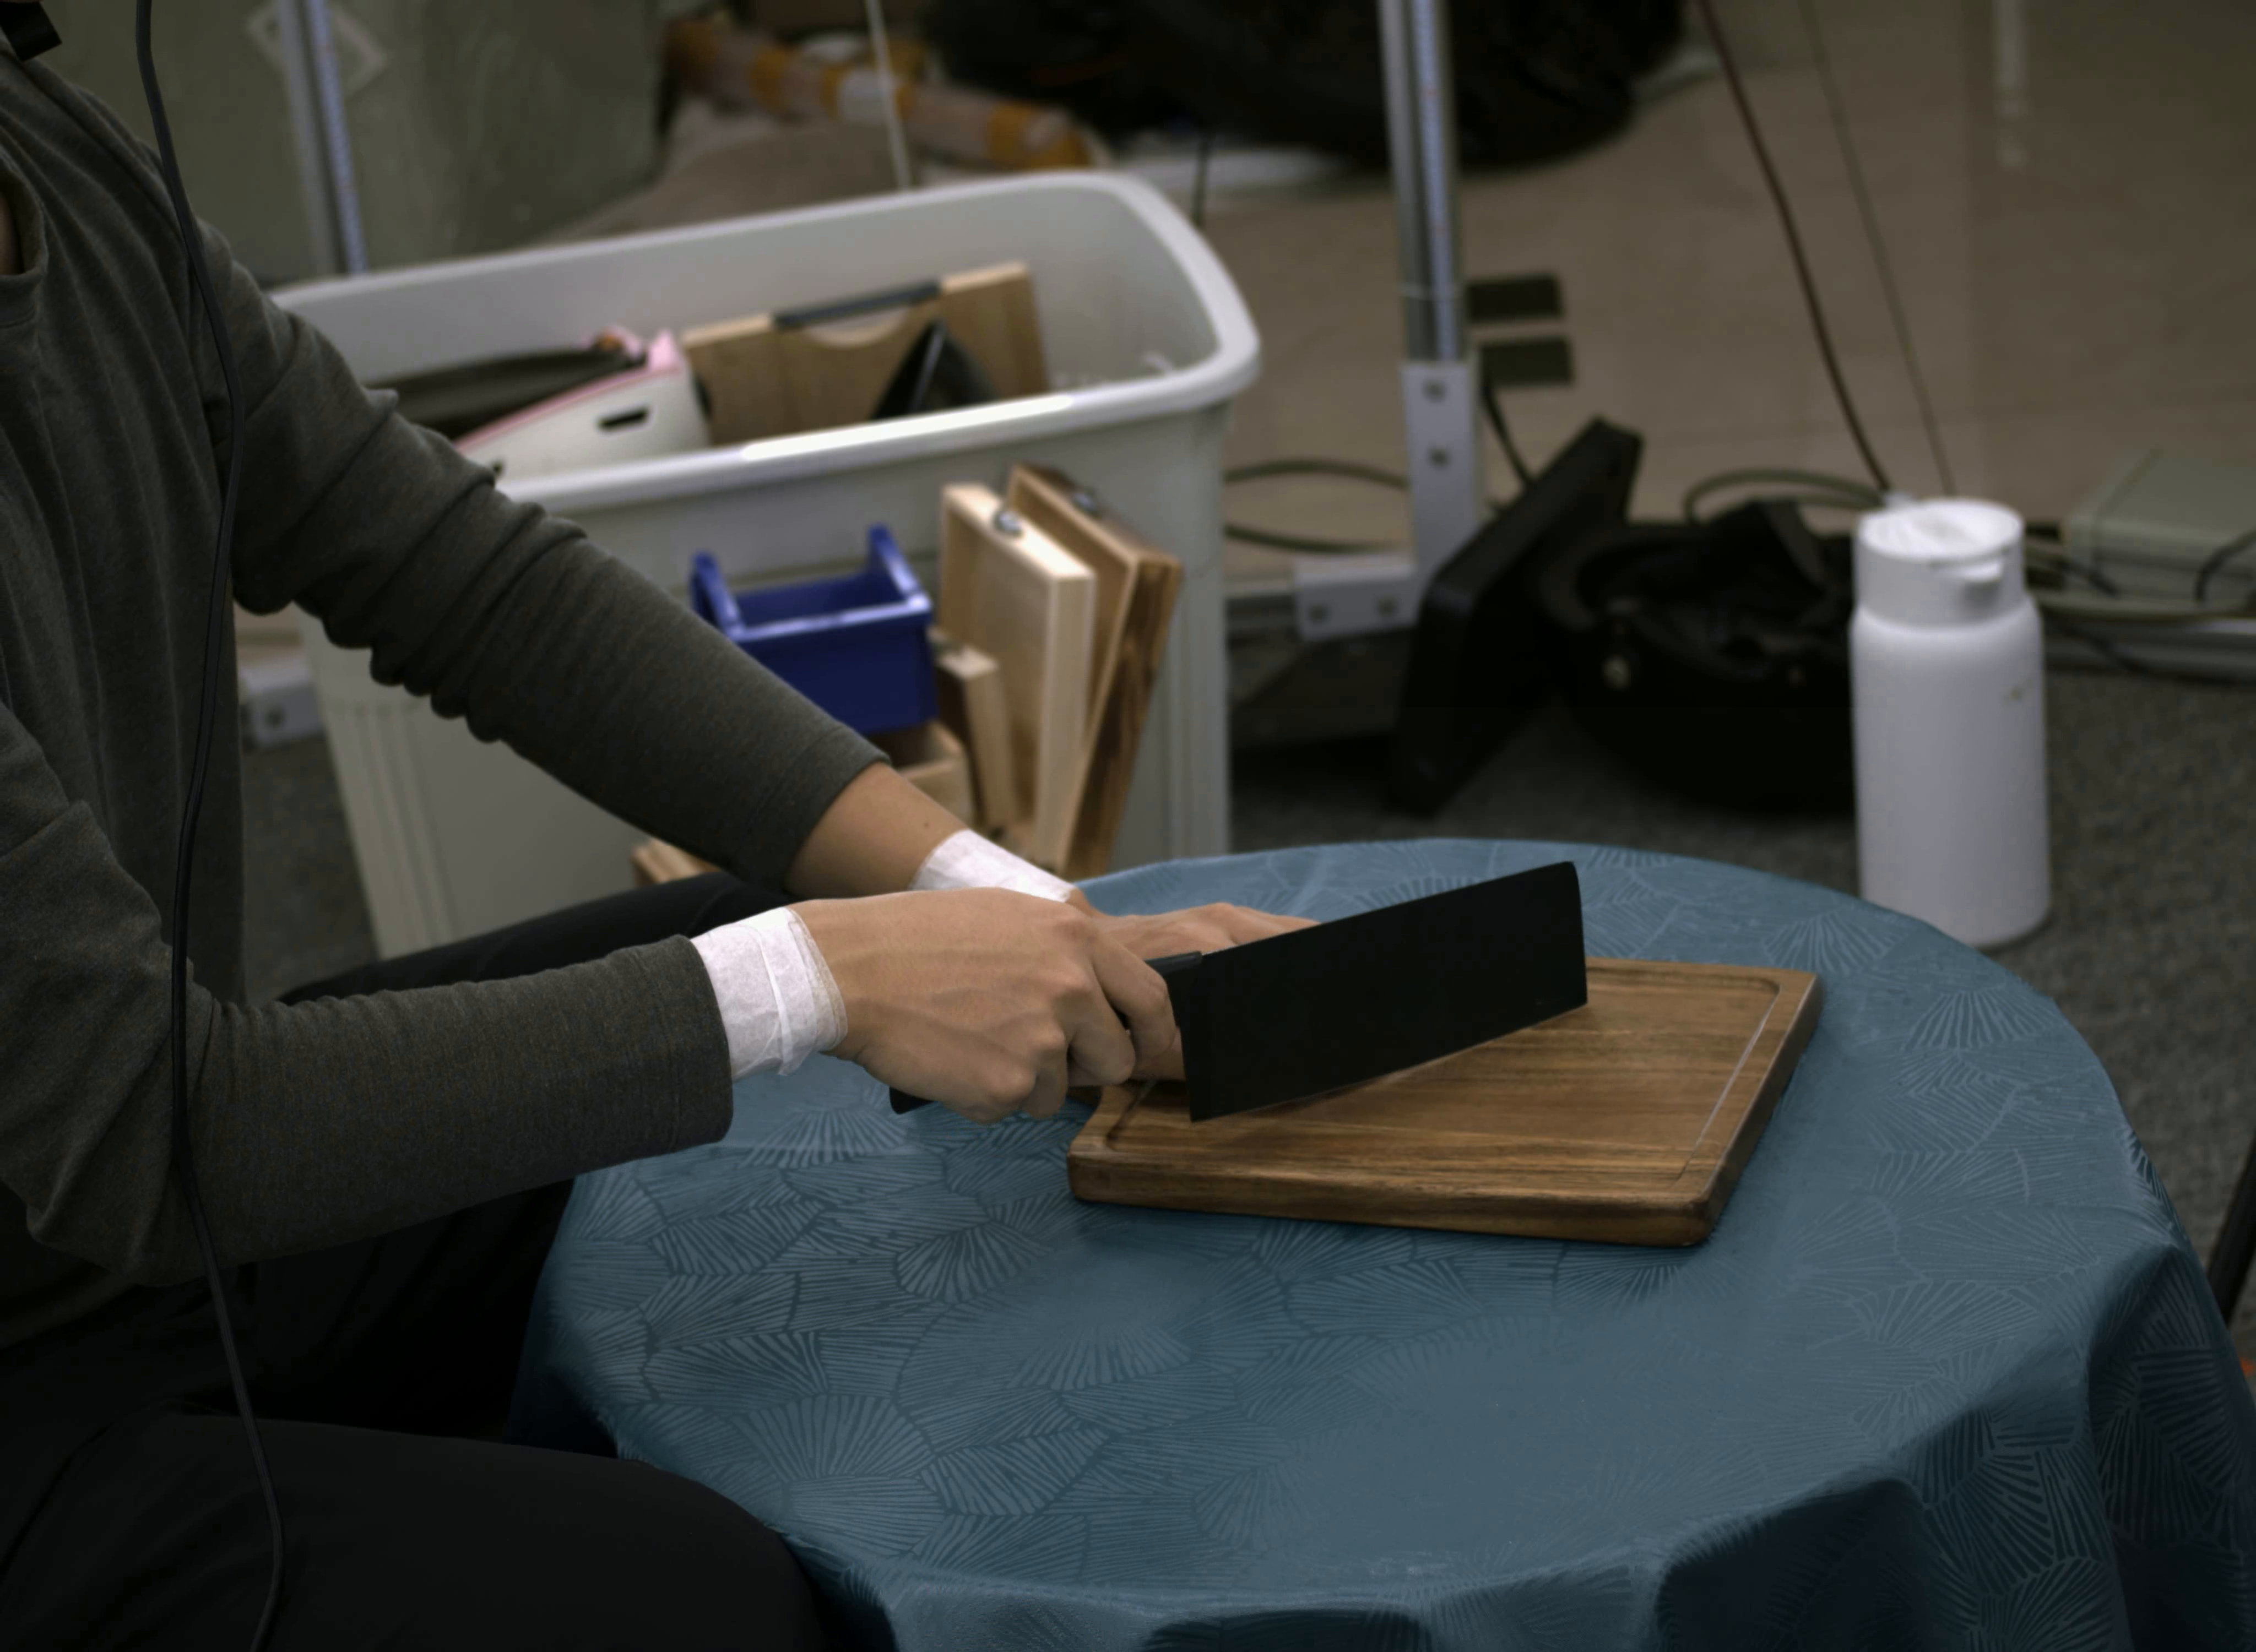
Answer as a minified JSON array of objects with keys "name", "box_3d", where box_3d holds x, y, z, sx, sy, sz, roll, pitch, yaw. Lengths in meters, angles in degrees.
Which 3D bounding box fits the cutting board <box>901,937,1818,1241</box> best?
[{"name":"cutting board","box_3d":[0.077,0.096,2.200,0.351,0.023,0.198,3,26,20]}]

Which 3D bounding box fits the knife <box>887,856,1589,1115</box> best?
[{"name":"knife","box_3d":[0.046,0.070,2.144,0.301,0.082,0.020,-9,16,-27]}]
